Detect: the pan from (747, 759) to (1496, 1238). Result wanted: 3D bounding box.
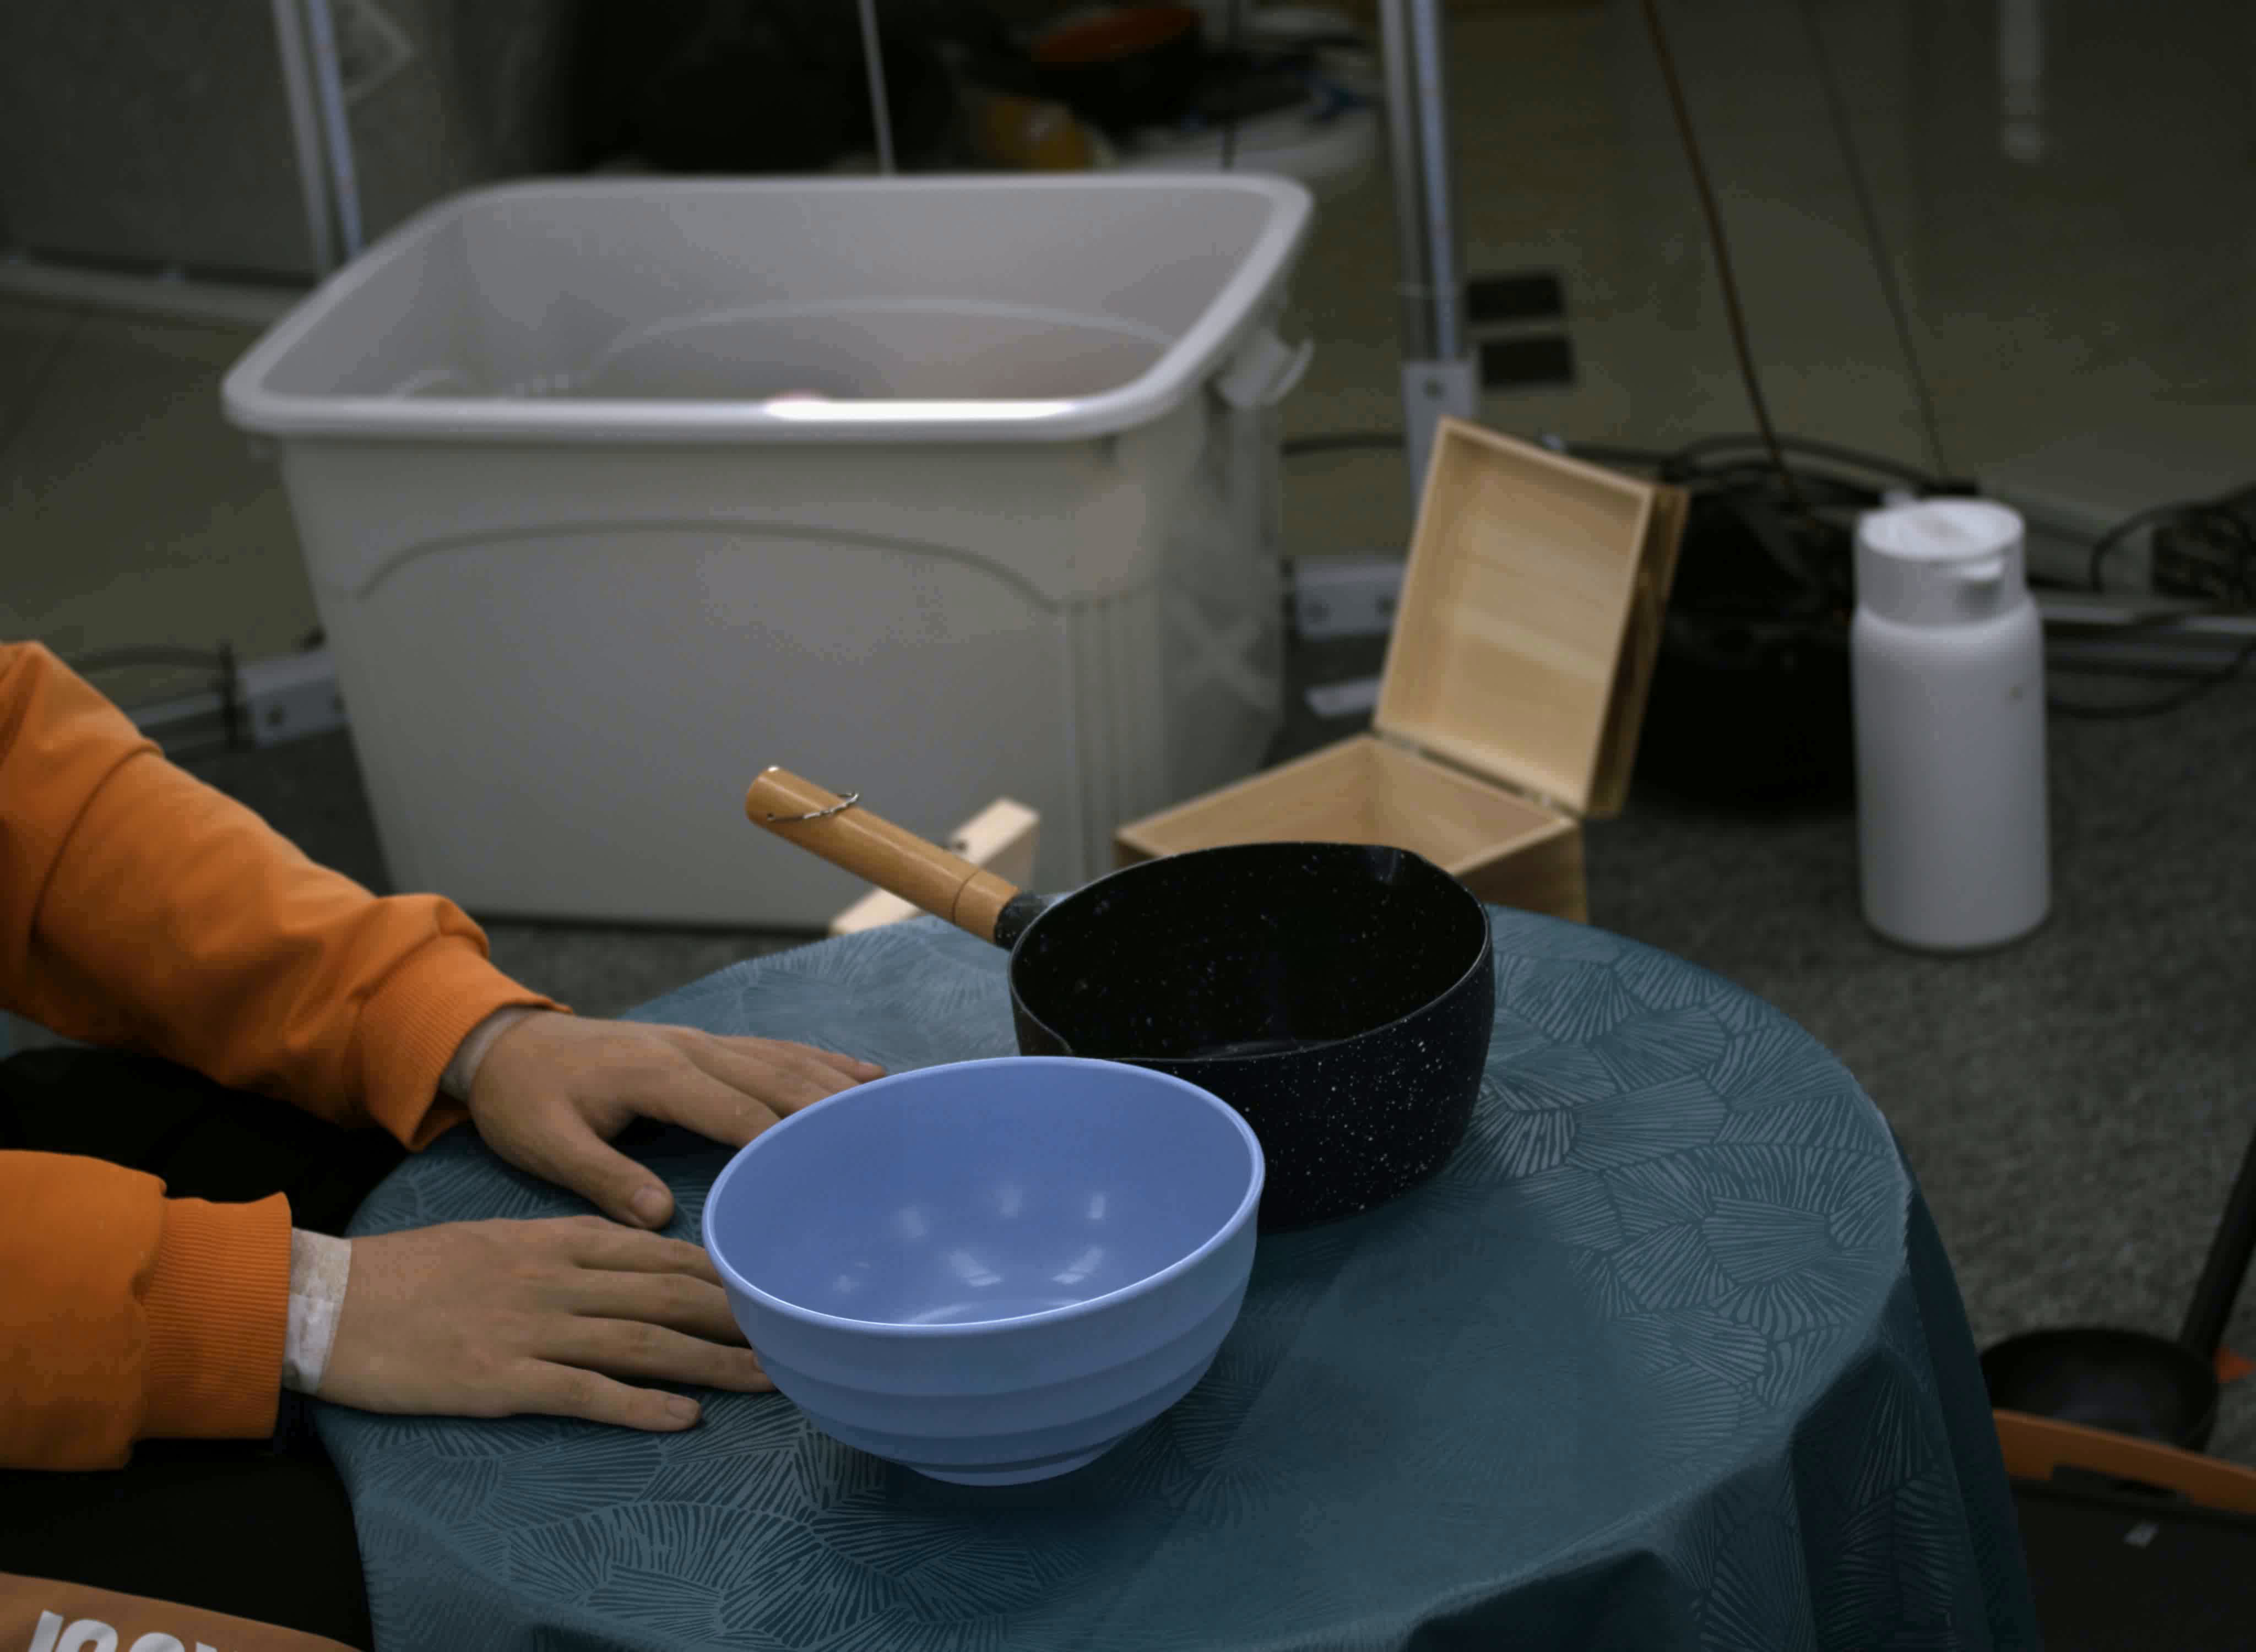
[{"bbox_3d":[-0.014,0.058,2.195,0.340,0.110,0.205,15,34,35],"label":"pan"}]

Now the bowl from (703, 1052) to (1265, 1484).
[{"bbox_3d":[-0.046,0.166,1.985,0.196,0.097,0.193,-5,26,3],"label":"bowl"}]
